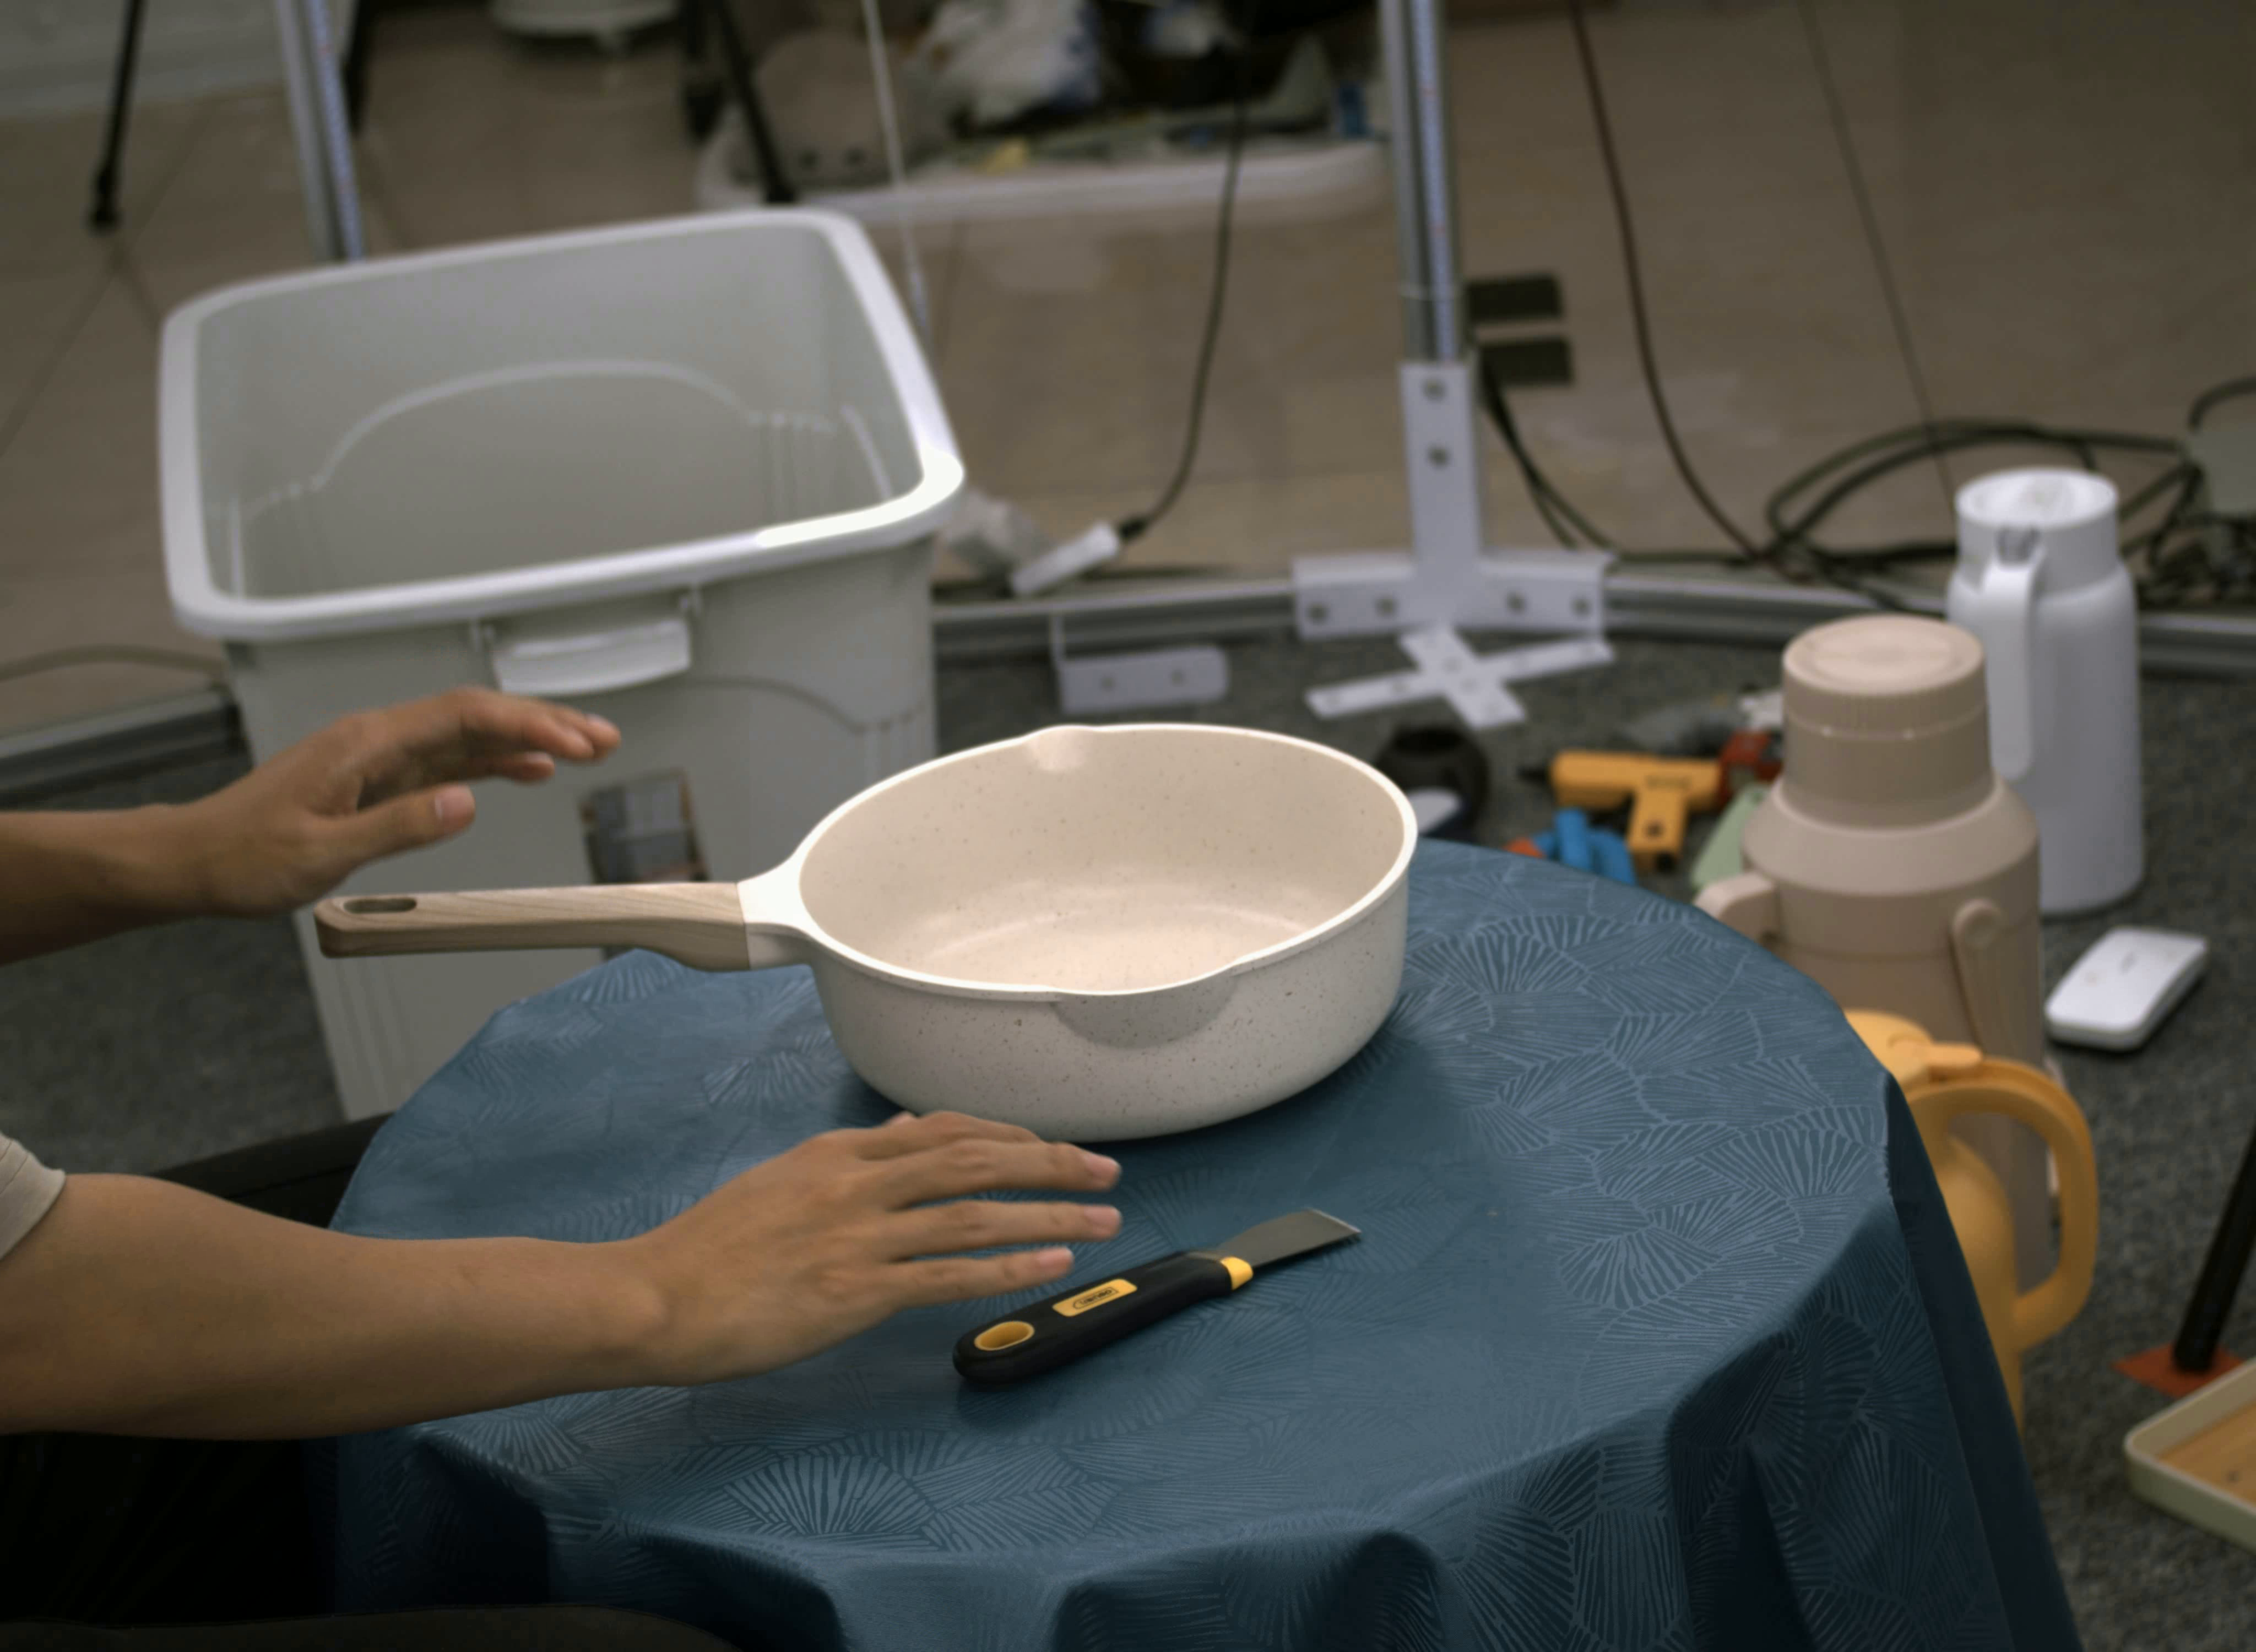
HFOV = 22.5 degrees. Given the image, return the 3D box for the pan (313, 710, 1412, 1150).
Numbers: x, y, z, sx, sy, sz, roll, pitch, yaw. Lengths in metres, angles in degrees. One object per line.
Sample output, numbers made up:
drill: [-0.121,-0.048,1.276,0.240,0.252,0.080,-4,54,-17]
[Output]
pan: [-0.100,0.053,2.251,0.434,0.104,0.259,-9,28,-5]

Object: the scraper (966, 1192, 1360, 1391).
scraper: [0.011,0.169,2.066,0.170,0.015,0.038,-21,32,-34]
